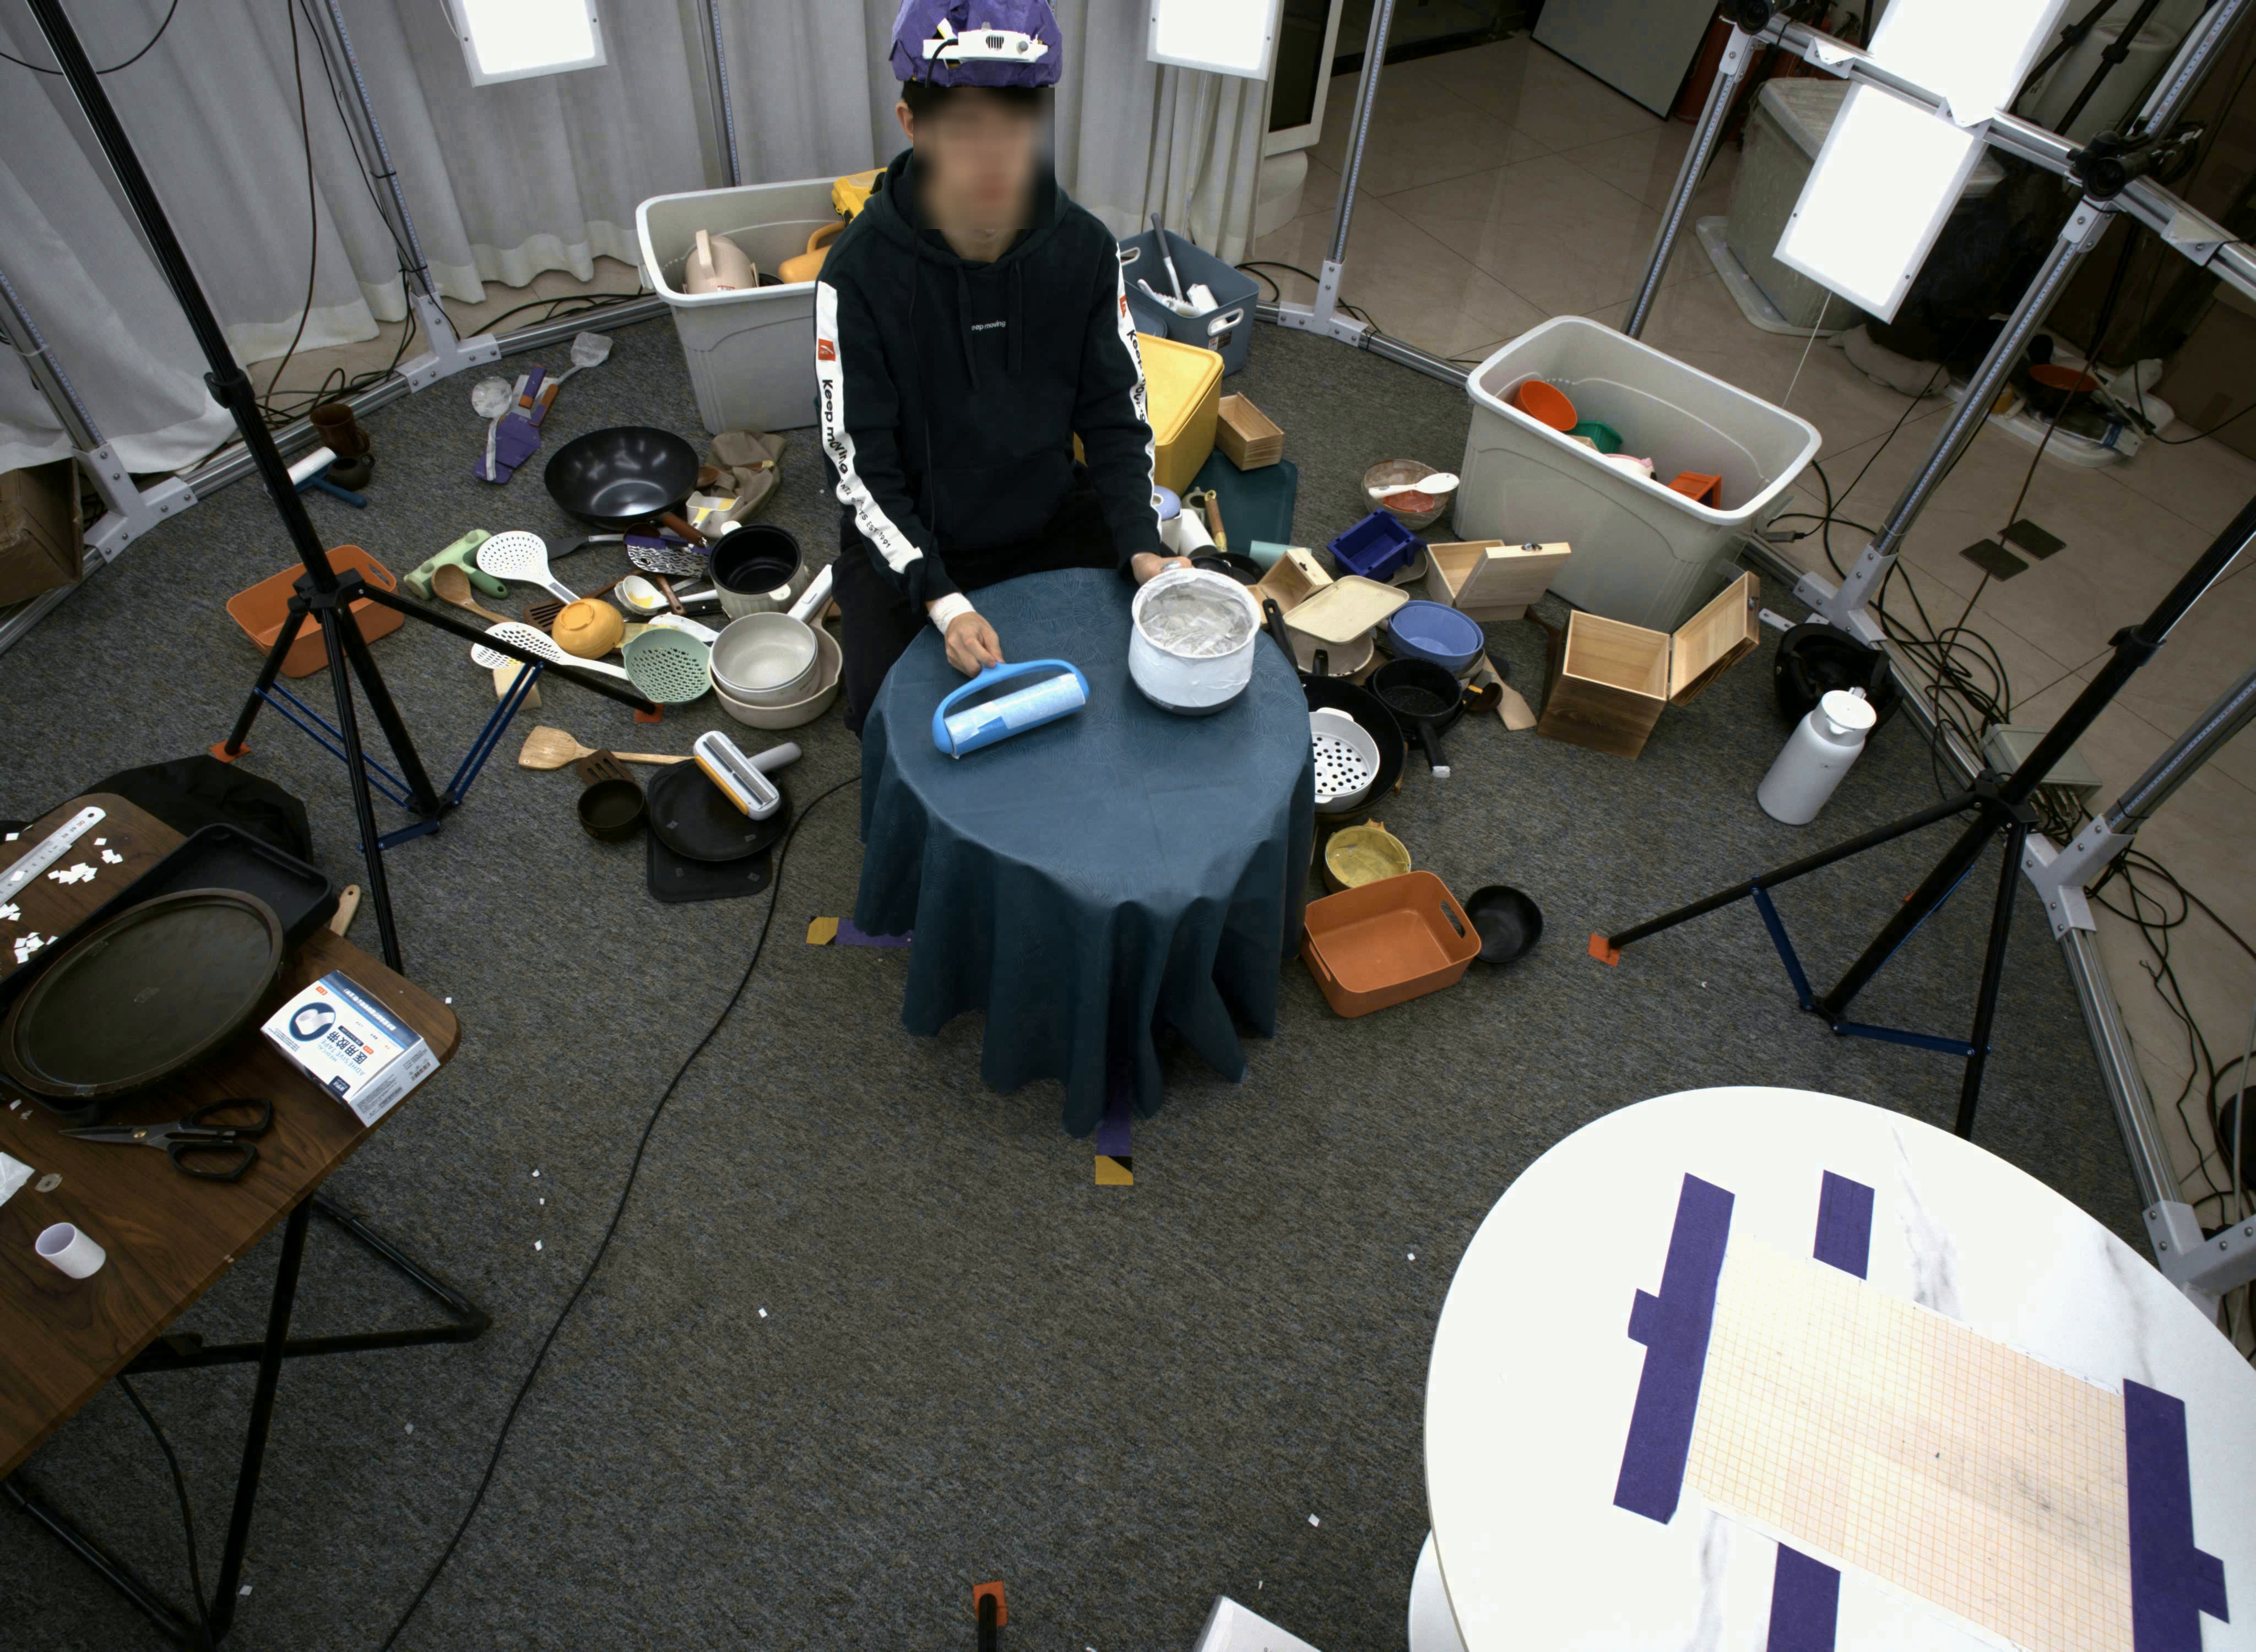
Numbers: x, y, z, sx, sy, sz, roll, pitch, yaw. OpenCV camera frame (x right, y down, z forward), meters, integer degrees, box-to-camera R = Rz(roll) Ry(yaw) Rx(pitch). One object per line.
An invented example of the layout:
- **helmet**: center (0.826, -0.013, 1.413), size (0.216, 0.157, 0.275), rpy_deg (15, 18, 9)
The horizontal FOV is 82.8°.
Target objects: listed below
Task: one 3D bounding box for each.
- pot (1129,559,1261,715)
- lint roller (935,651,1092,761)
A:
- **pot**: center (0.082, -0.277, 1.817), size (0.178, 0.133, 0.239), rpy_deg (-12, 54, -12)
- **lint roller**: center (-0.184, -0.193, 1.776), size (0.230, 0.066, 0.184), rpy_deg (-27, 59, -17)
